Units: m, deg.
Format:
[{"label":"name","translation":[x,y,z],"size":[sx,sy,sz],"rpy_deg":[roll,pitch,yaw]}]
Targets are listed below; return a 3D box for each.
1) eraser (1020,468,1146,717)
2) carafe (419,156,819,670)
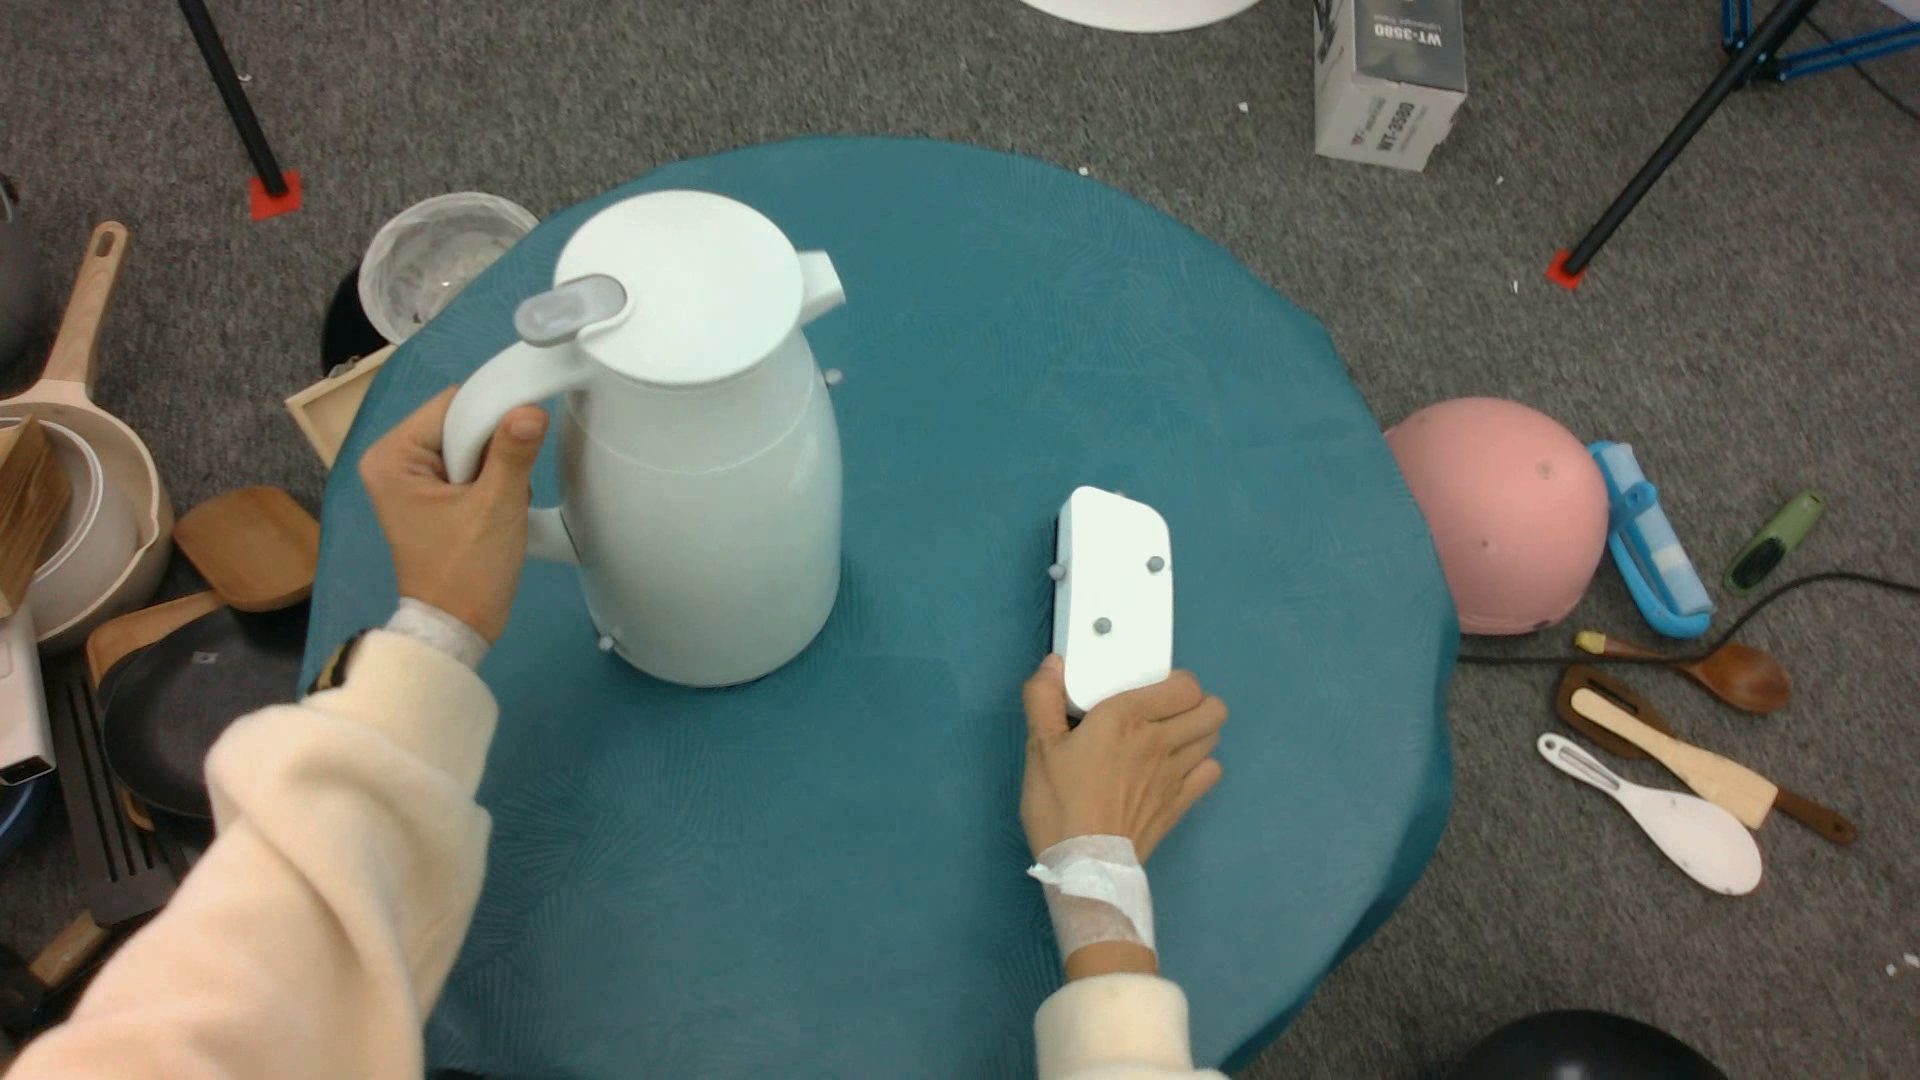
[{"label":"eraser","translation":[0.062,0.025,0.709],"size":[0.063,0.034,0.132],"rpy_deg":[18,56,-23]},{"label":"carafe","translation":[-0.143,-0.044,0.605],"size":[0.168,0.247,0.133],"rpy_deg":[-24,66,-19]}]
